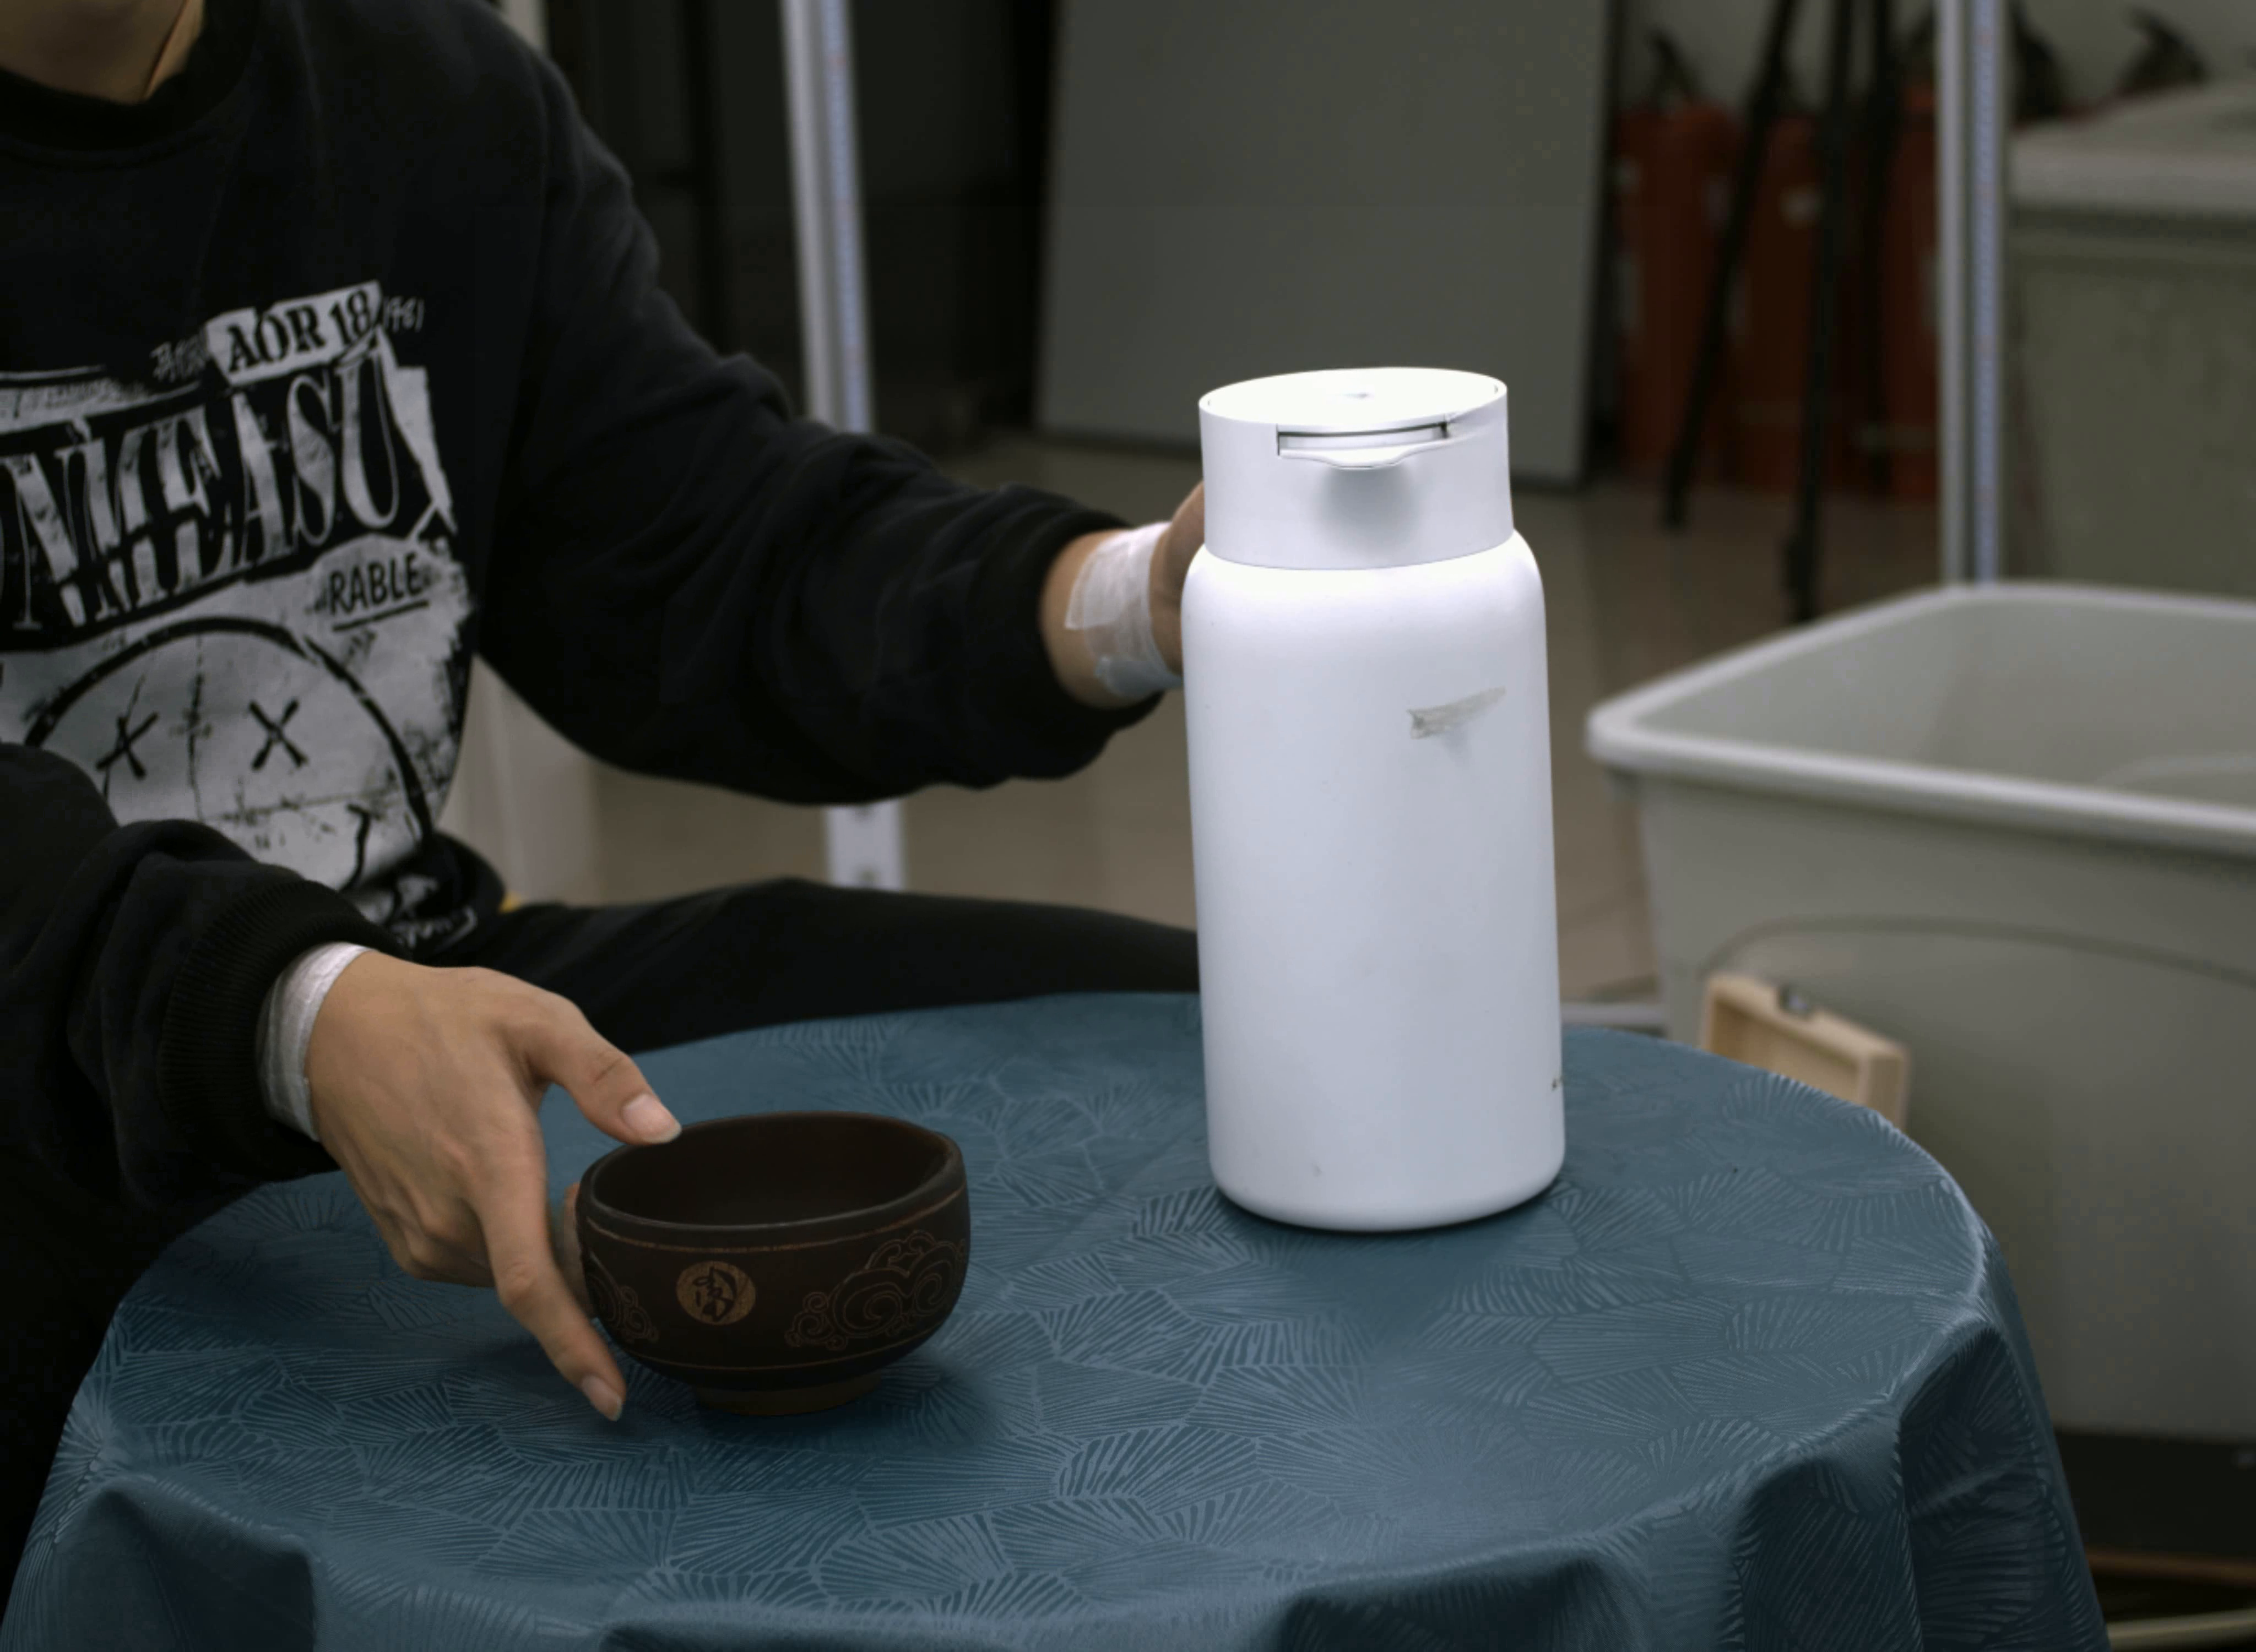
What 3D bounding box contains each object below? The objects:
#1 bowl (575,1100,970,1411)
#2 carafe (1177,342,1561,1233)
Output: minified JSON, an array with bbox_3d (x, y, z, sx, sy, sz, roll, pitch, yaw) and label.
[{"bbox_3d":[-0.104,0.132,1.608,0.116,0.070,0.118,-4,13,0],"label":"bowl"},{"bbox_3d":[0.075,-0.017,1.748,0.122,0.272,0.173,-6,14,-1],"label":"carafe"}]
